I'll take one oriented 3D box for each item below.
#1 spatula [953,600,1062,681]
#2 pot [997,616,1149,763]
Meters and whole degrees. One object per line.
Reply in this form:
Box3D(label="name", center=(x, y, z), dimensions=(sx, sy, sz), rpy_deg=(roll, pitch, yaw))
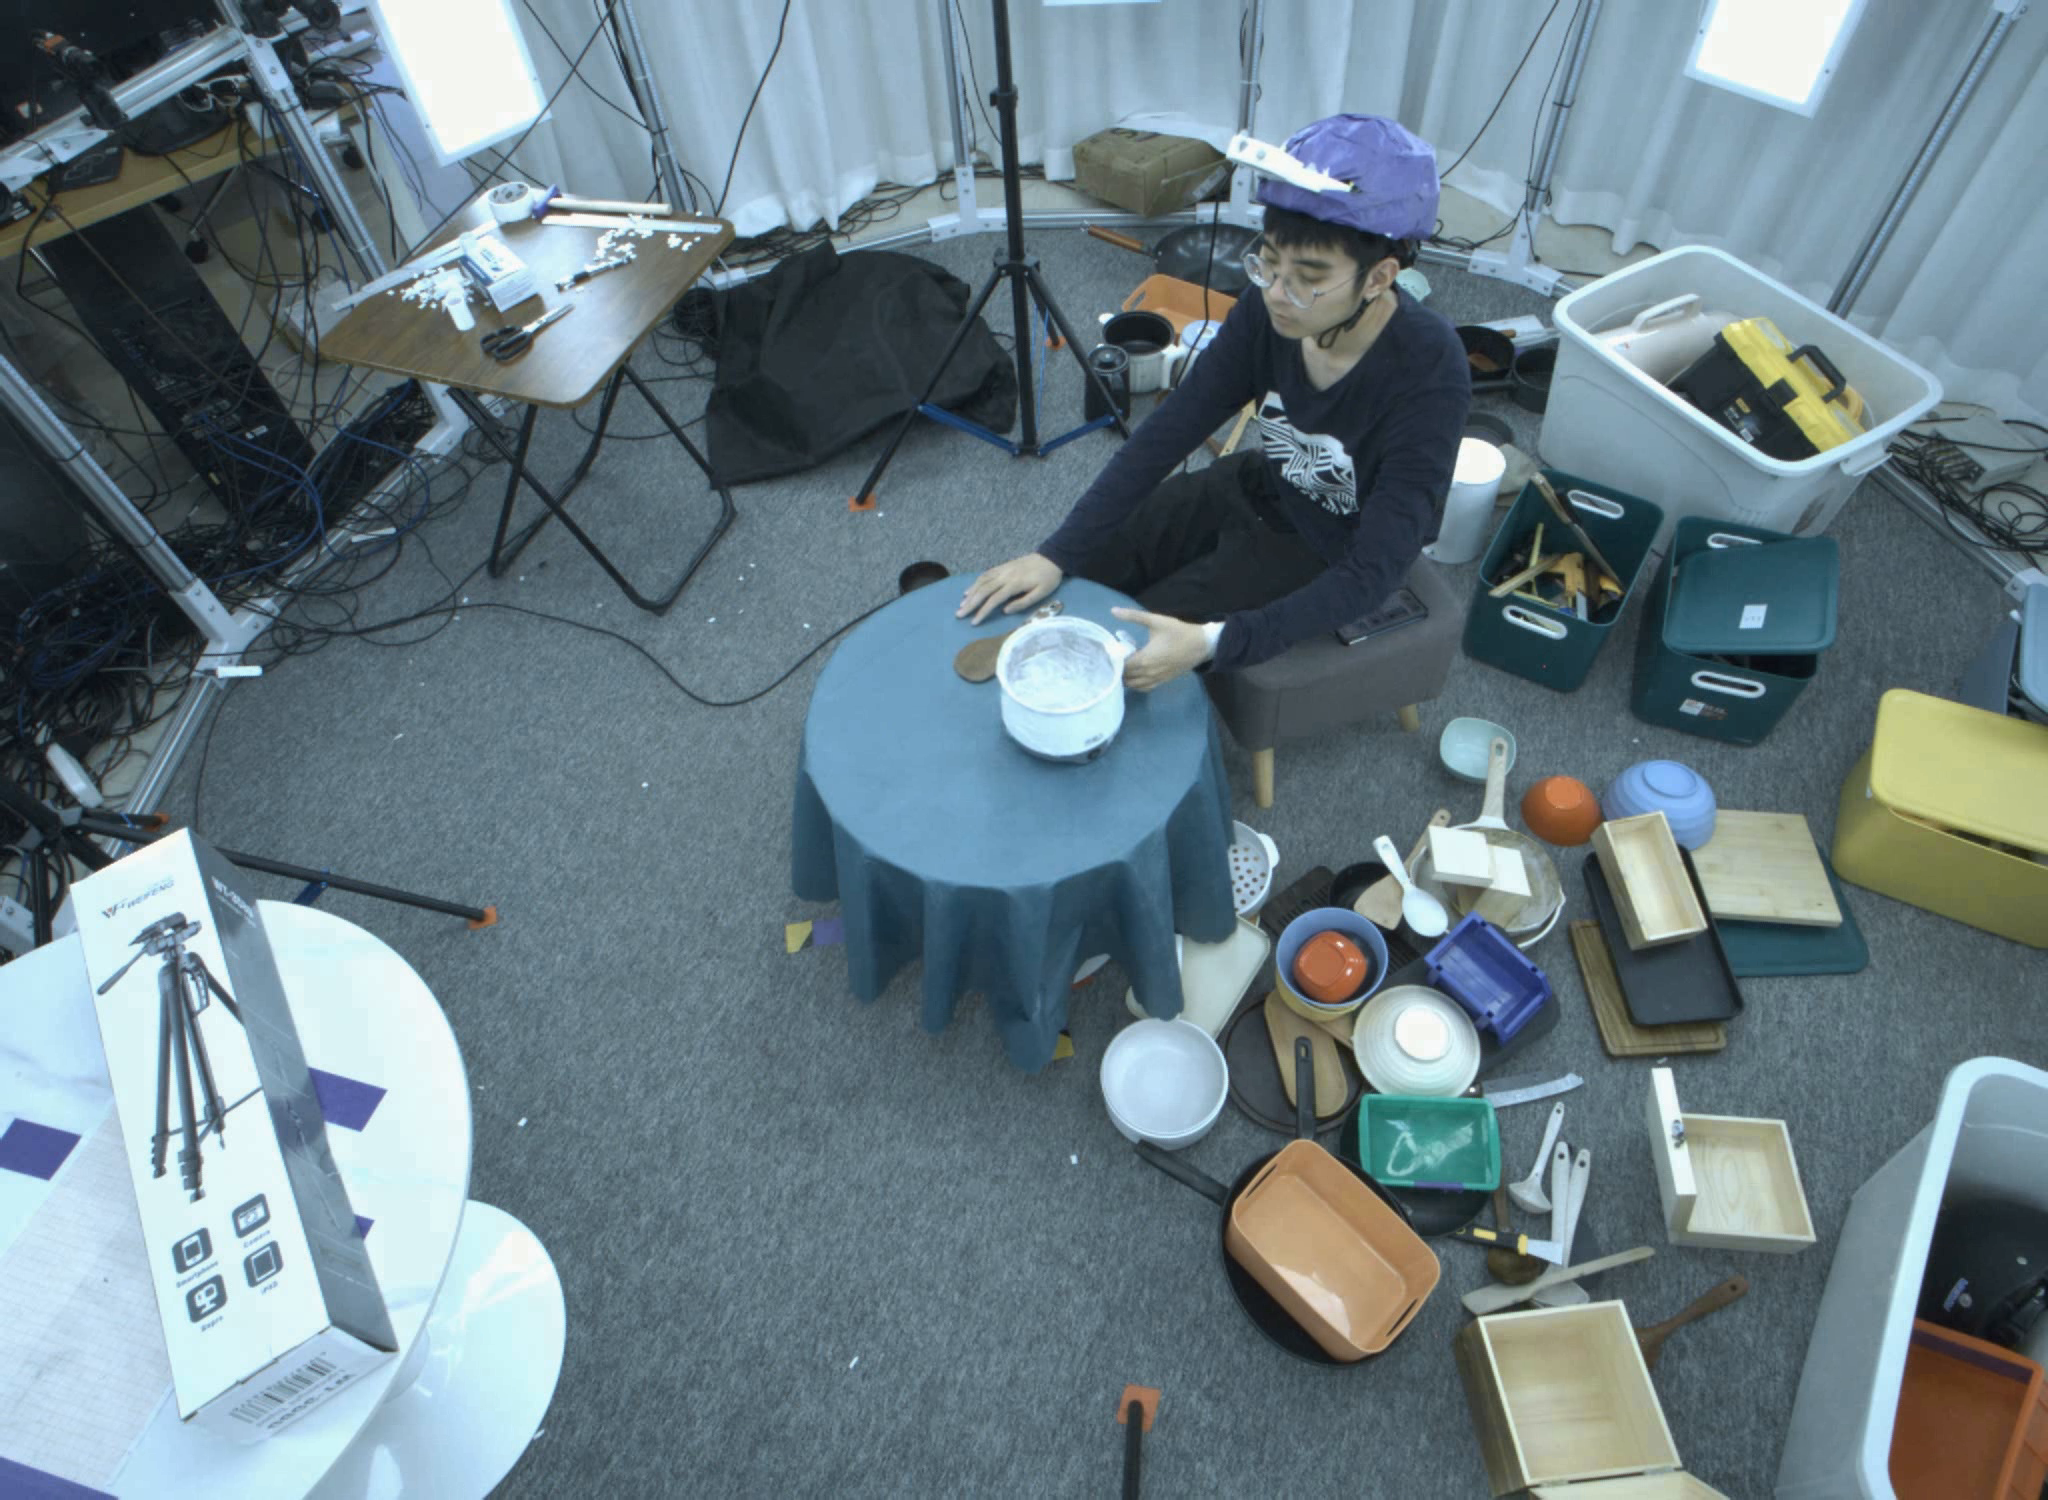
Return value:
Box3D(label="spatula", center=(-0.018, -0.174, 1.917), dimensions=(0.217, 0.009, 0.070), rpy_deg=(-37, 63, -24))
Box3D(label="pot", center=(0.077, -0.097, 1.776), dimensions=(0.235, 0.138, 0.175), rpy_deg=(-29, 61, -16))
